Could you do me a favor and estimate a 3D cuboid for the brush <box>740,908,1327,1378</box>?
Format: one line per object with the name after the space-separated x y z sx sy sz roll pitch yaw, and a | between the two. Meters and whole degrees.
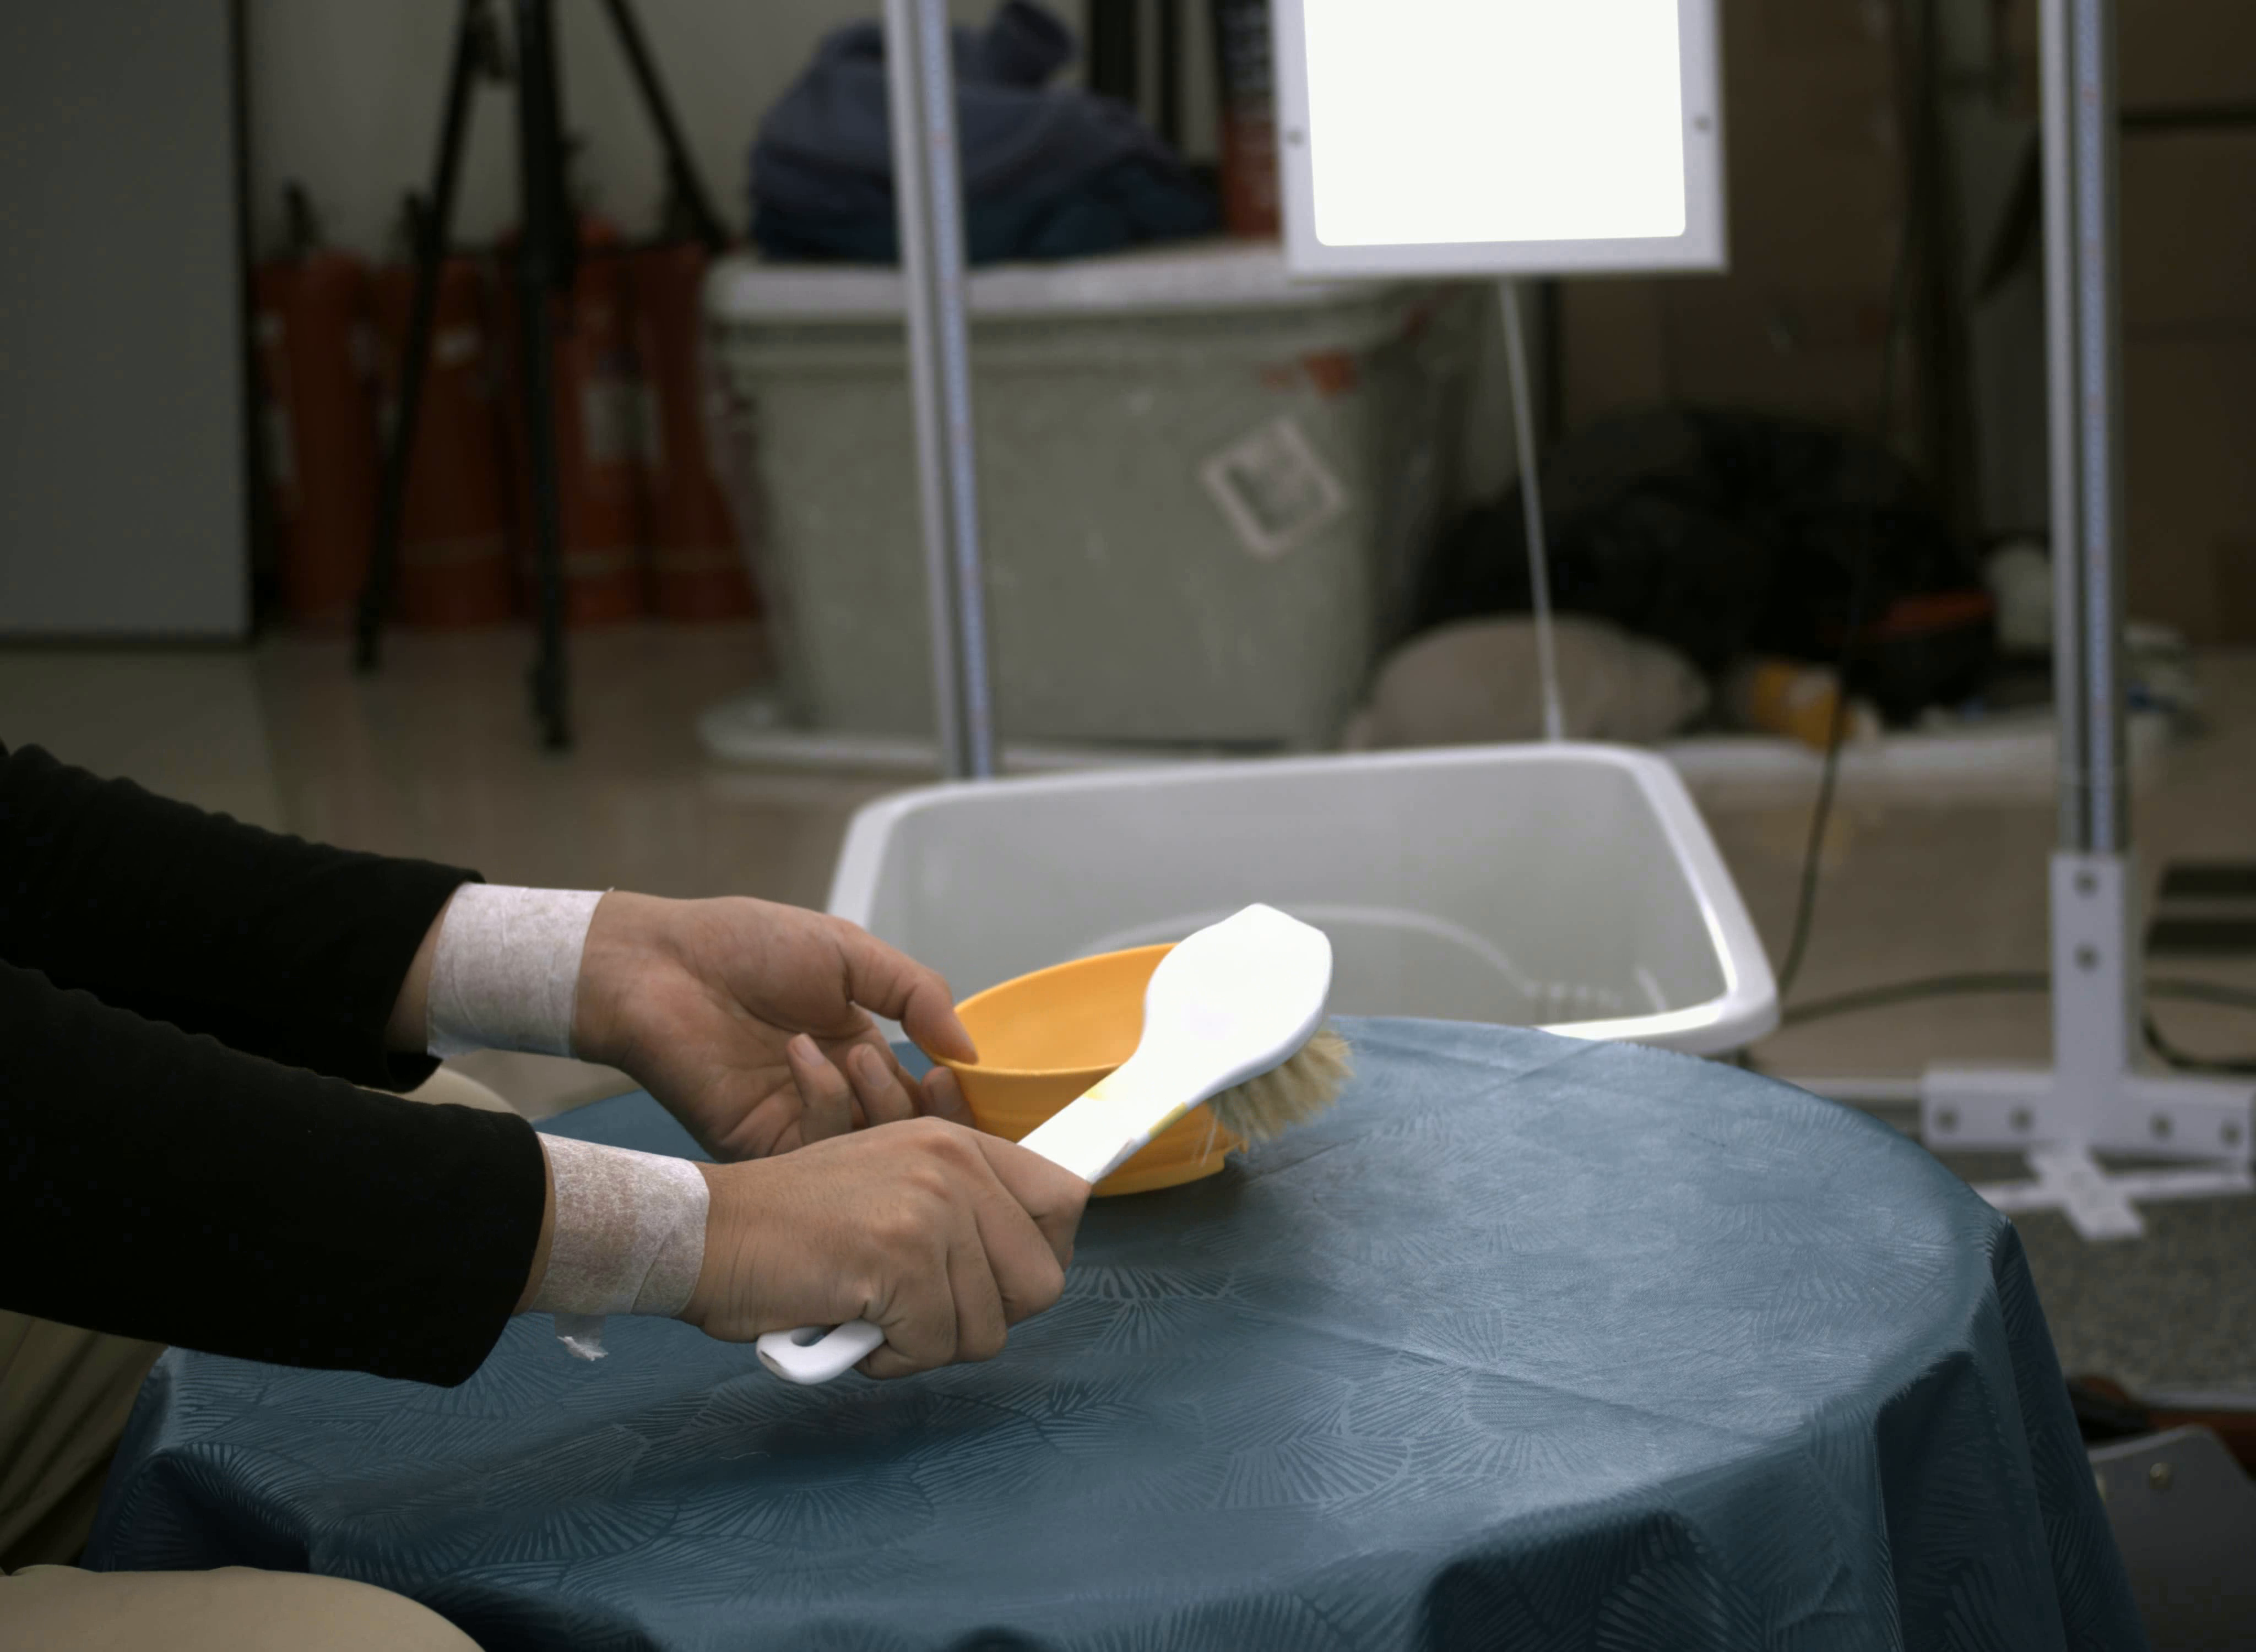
-0.030 0.115 1.744 0.070 0.056 0.261 18 43 34 | brush

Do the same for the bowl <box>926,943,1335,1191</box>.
0.006 0.088 1.911 0.145 0.060 0.145 -11 13 1 | bowl
